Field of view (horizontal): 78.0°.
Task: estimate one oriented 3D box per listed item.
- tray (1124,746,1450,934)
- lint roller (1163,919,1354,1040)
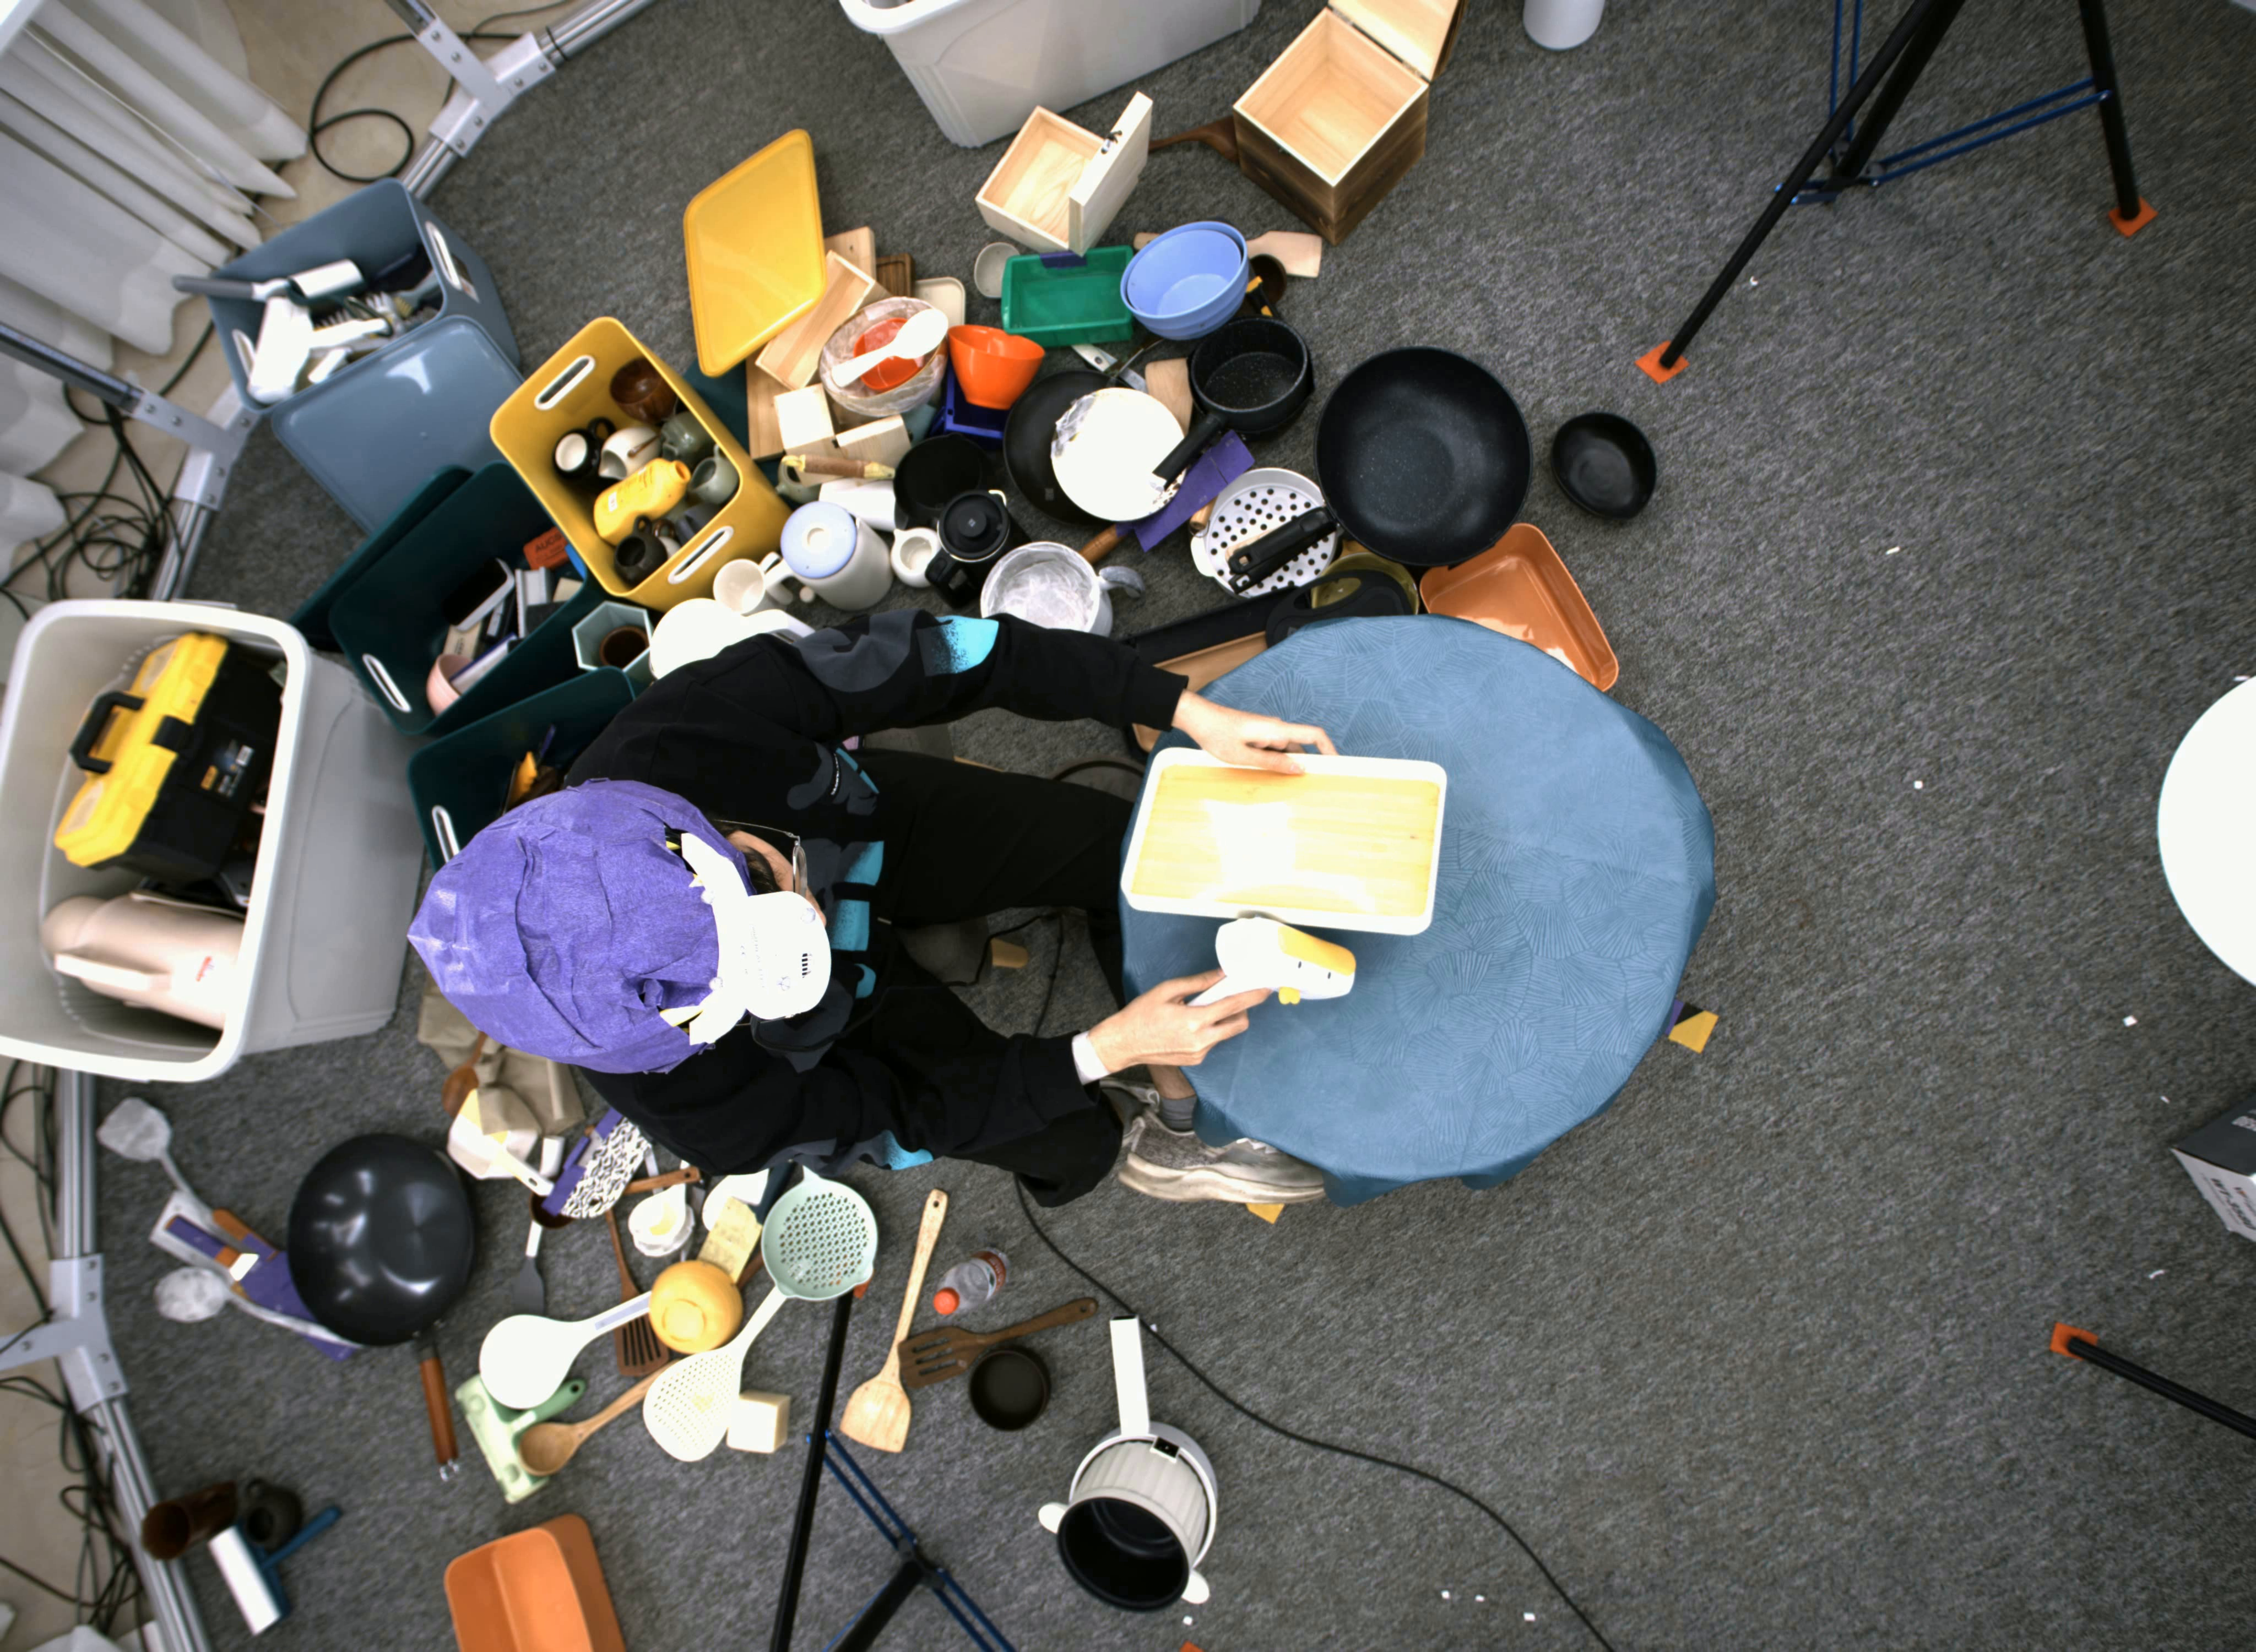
[{"bbox_3d":[0.157,0.008,1.357,0.301,0.028,0.187,4,58,16],"label":"tray"},{"bbox_3d":[0.109,0.158,1.379,0.196,0.192,0.073,-26,65,34],"label":"lint roller"}]
